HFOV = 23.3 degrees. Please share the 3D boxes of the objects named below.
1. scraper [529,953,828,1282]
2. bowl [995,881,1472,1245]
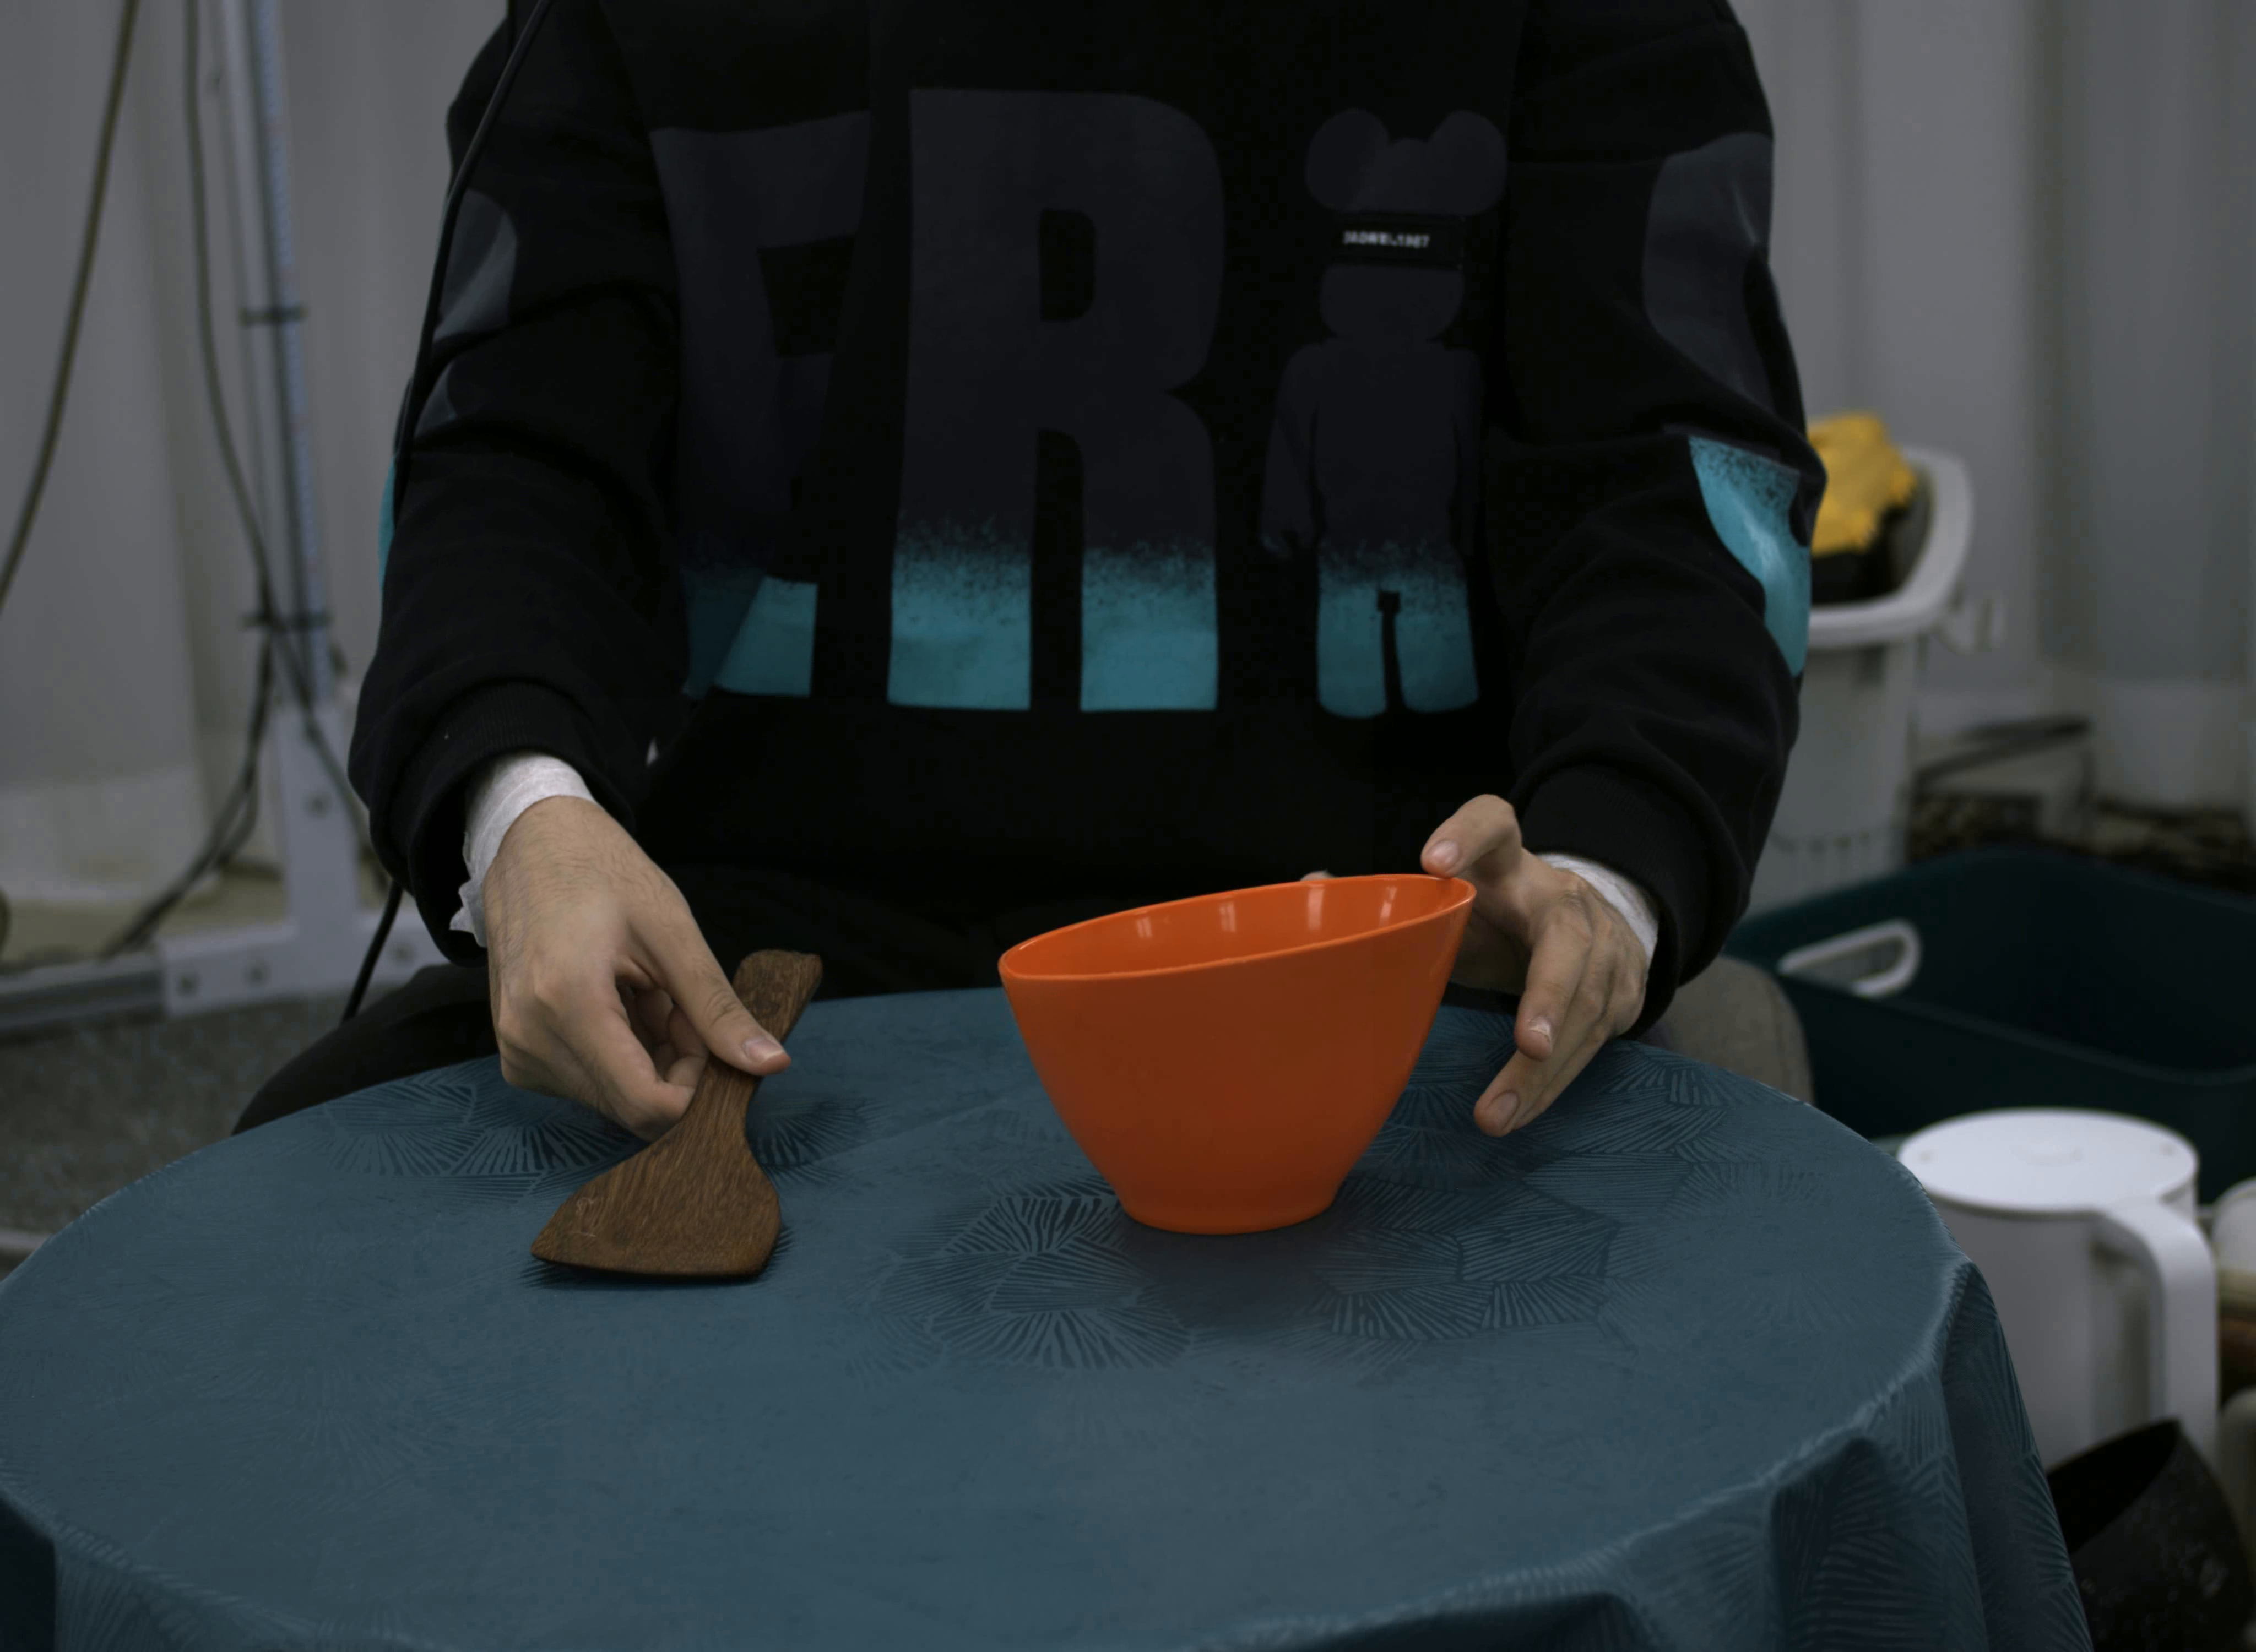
[{"bbox_3d":[-0.130,0.092,1.743,0.076,0.011,0.213,3,27,9],"label":"scraper"},{"bbox_3d":[0.034,0.072,1.680,0.147,0.104,0.149,-4,13,1],"label":"bowl"}]
